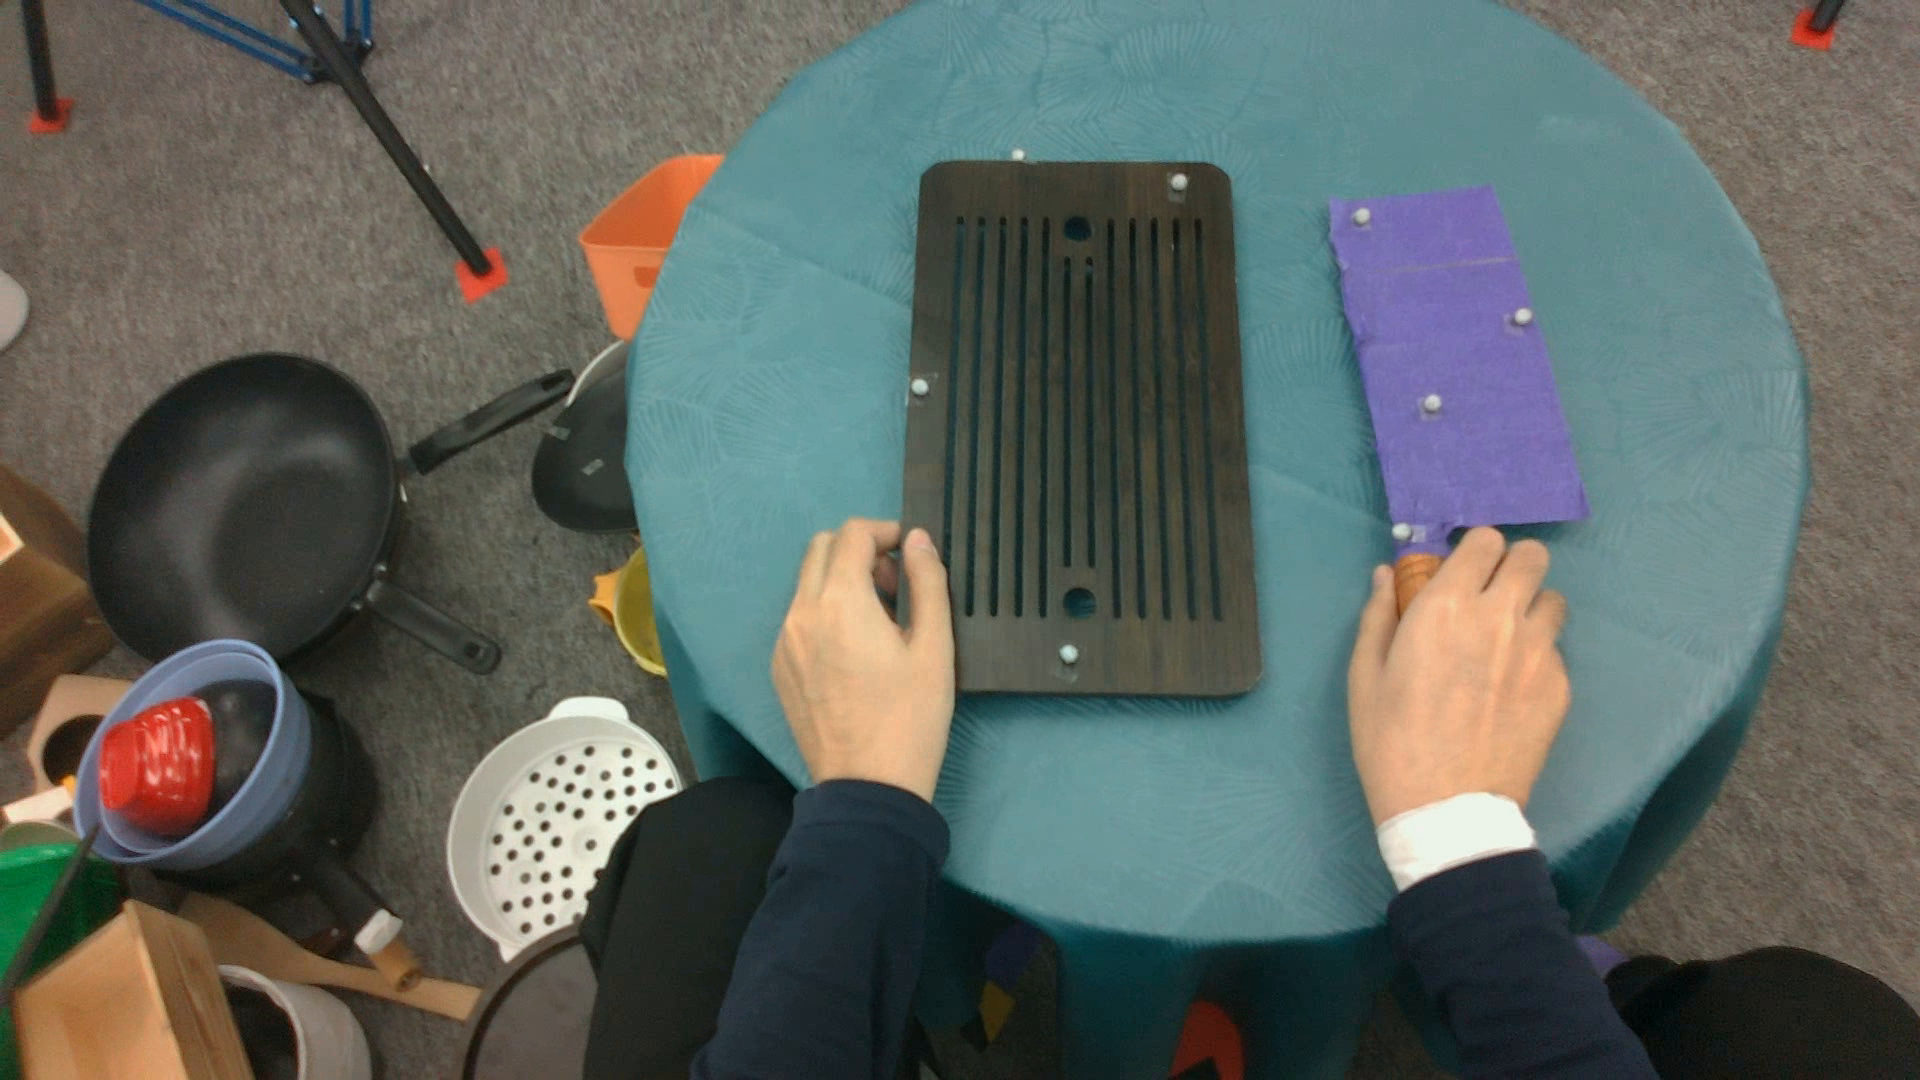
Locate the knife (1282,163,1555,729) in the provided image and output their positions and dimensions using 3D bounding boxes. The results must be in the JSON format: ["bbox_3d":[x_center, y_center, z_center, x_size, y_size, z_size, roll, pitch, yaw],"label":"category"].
[{"bbox_3d":[0.234,-0.064,0.672,0.104,0.032,0.316,-5,63,4],"label":"knife"}]

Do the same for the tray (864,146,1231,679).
[{"bbox_3d":[0.043,-0.075,0.697,0.170,0.018,0.307,1,65,2],"label":"tray"}]
